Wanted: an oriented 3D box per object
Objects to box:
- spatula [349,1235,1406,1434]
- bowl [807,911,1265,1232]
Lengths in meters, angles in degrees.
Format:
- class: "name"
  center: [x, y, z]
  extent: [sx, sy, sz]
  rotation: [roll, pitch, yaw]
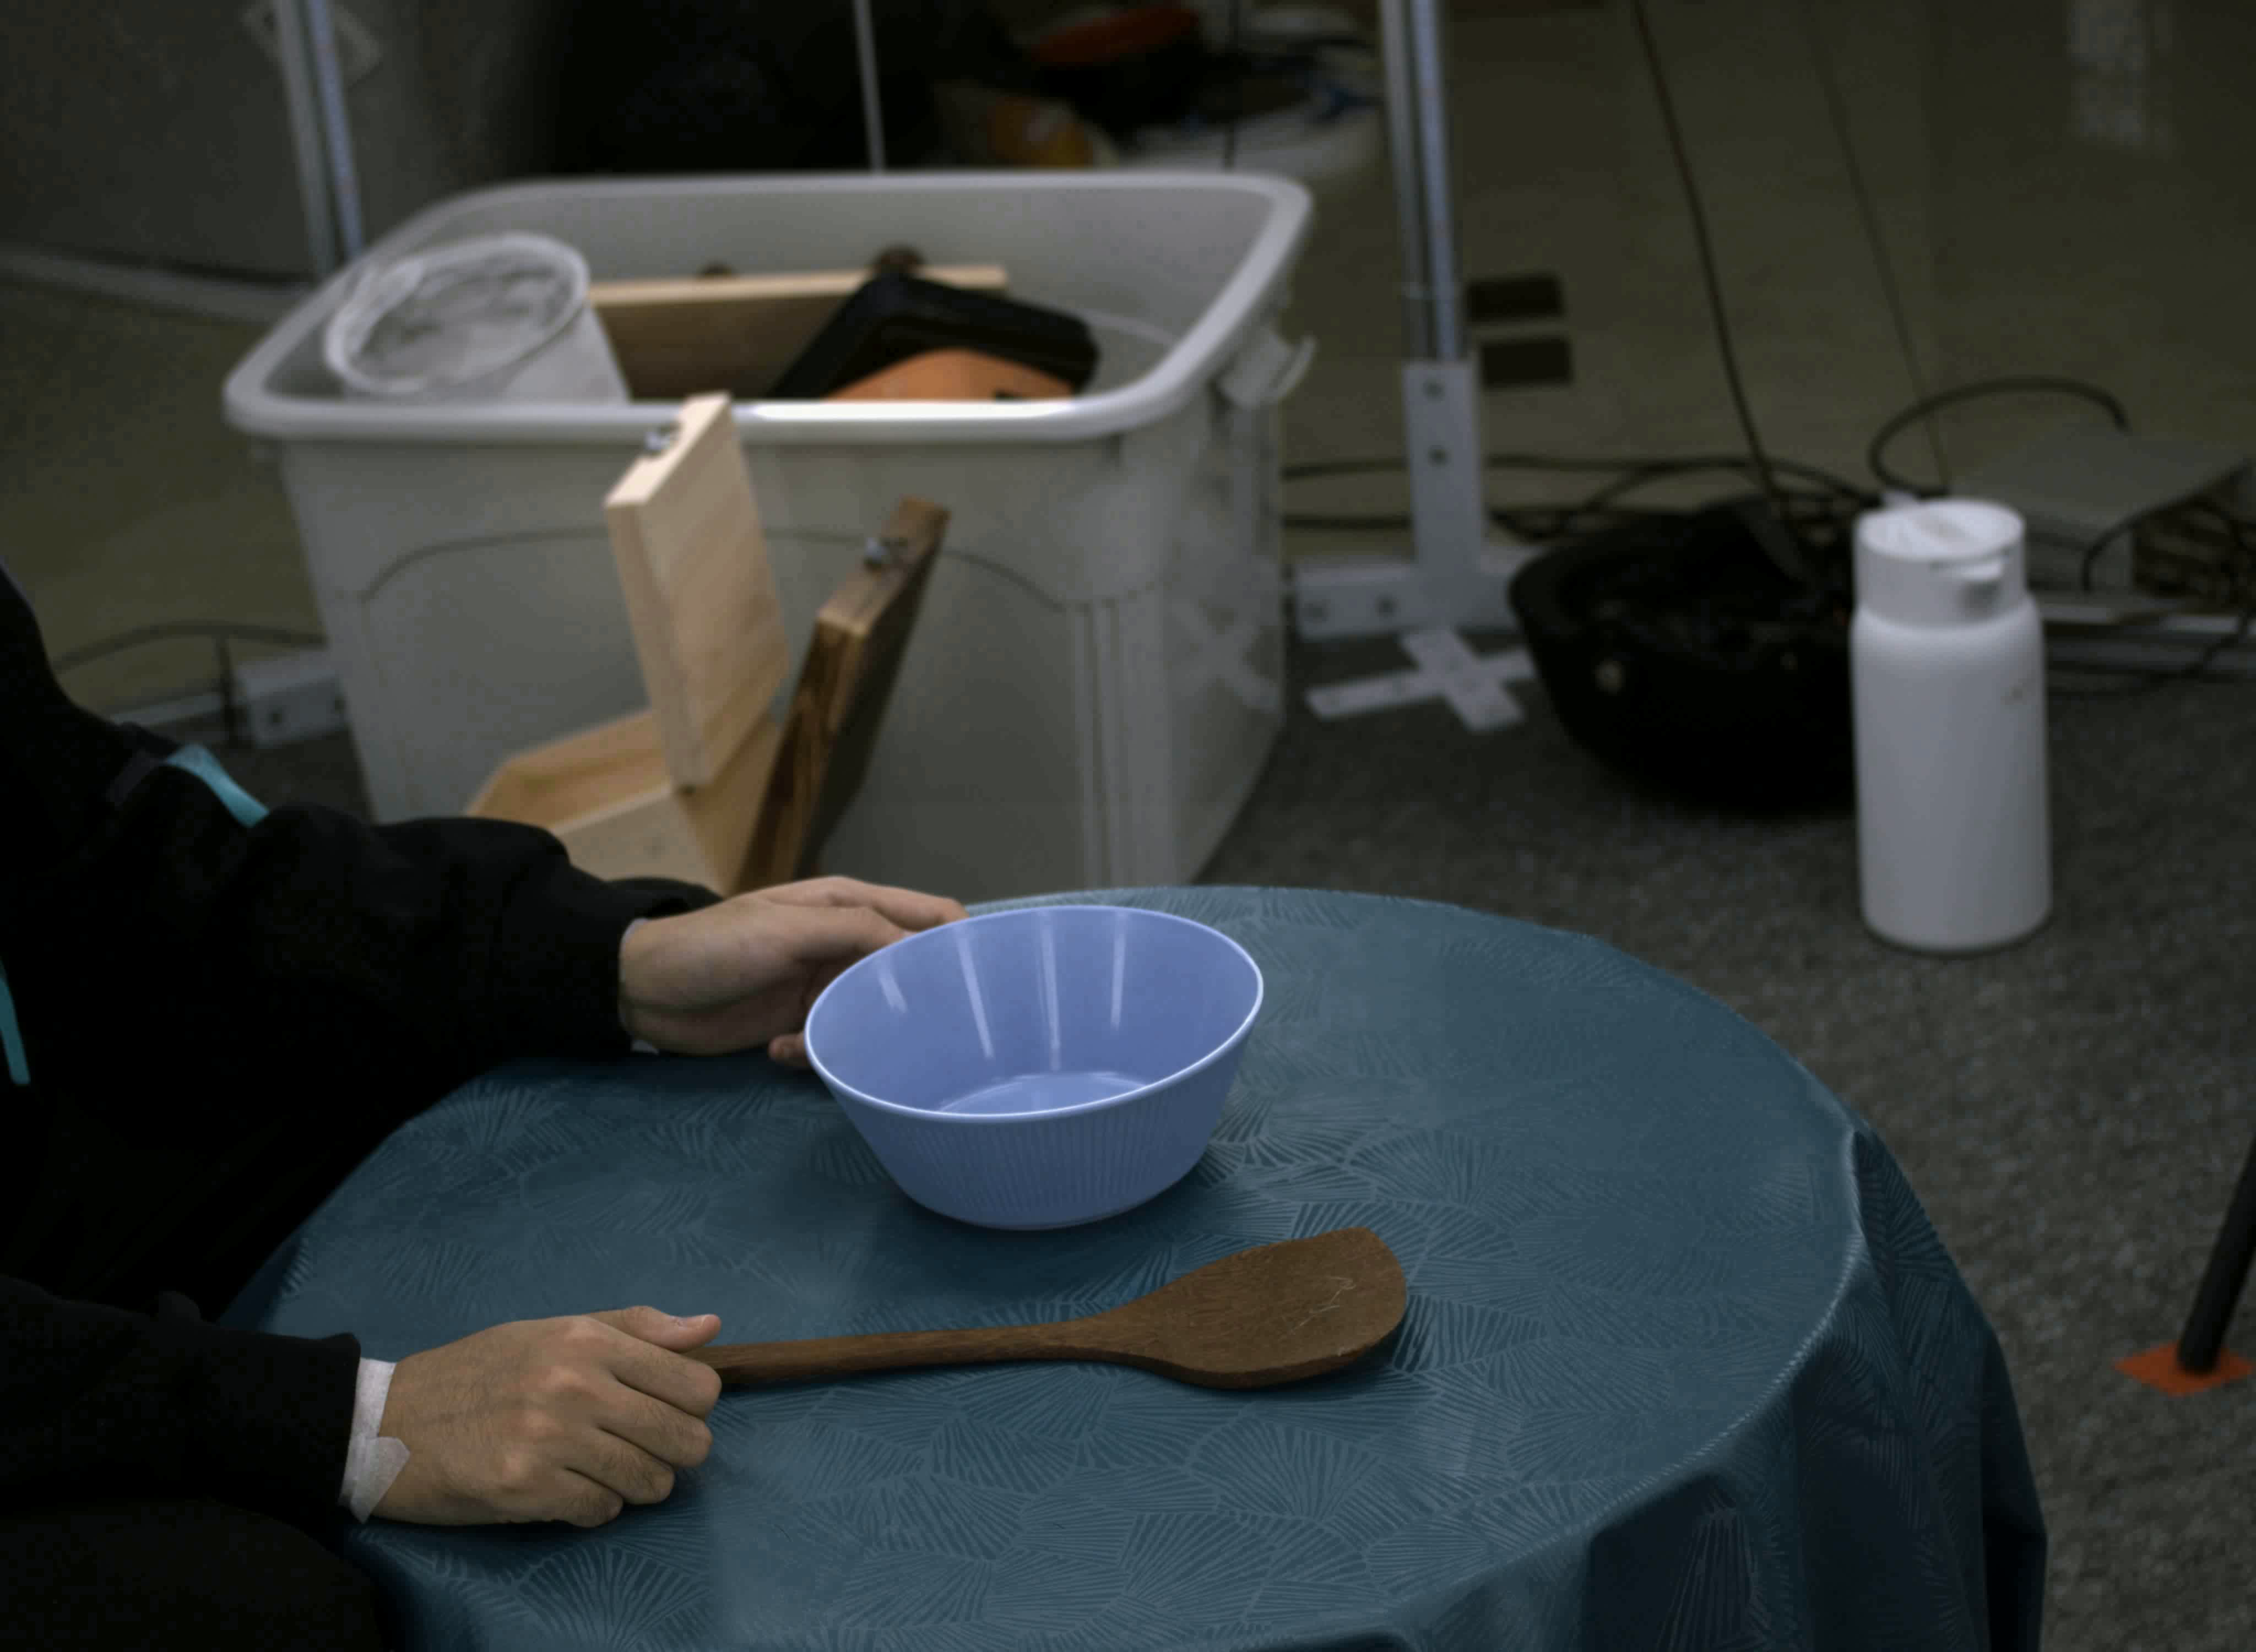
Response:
- class: "spatula"
  center: [-0.092, 0.191, 2.049]
  extent: [0.385, 0.016, 0.095]
  rotation: [-6, 24, 2]
- class: "bowl"
  center: [-0.031, 0.099, 2.163]
  extent: [0.176, 0.071, 0.173]
  rotation: [-6, 24, 3]
